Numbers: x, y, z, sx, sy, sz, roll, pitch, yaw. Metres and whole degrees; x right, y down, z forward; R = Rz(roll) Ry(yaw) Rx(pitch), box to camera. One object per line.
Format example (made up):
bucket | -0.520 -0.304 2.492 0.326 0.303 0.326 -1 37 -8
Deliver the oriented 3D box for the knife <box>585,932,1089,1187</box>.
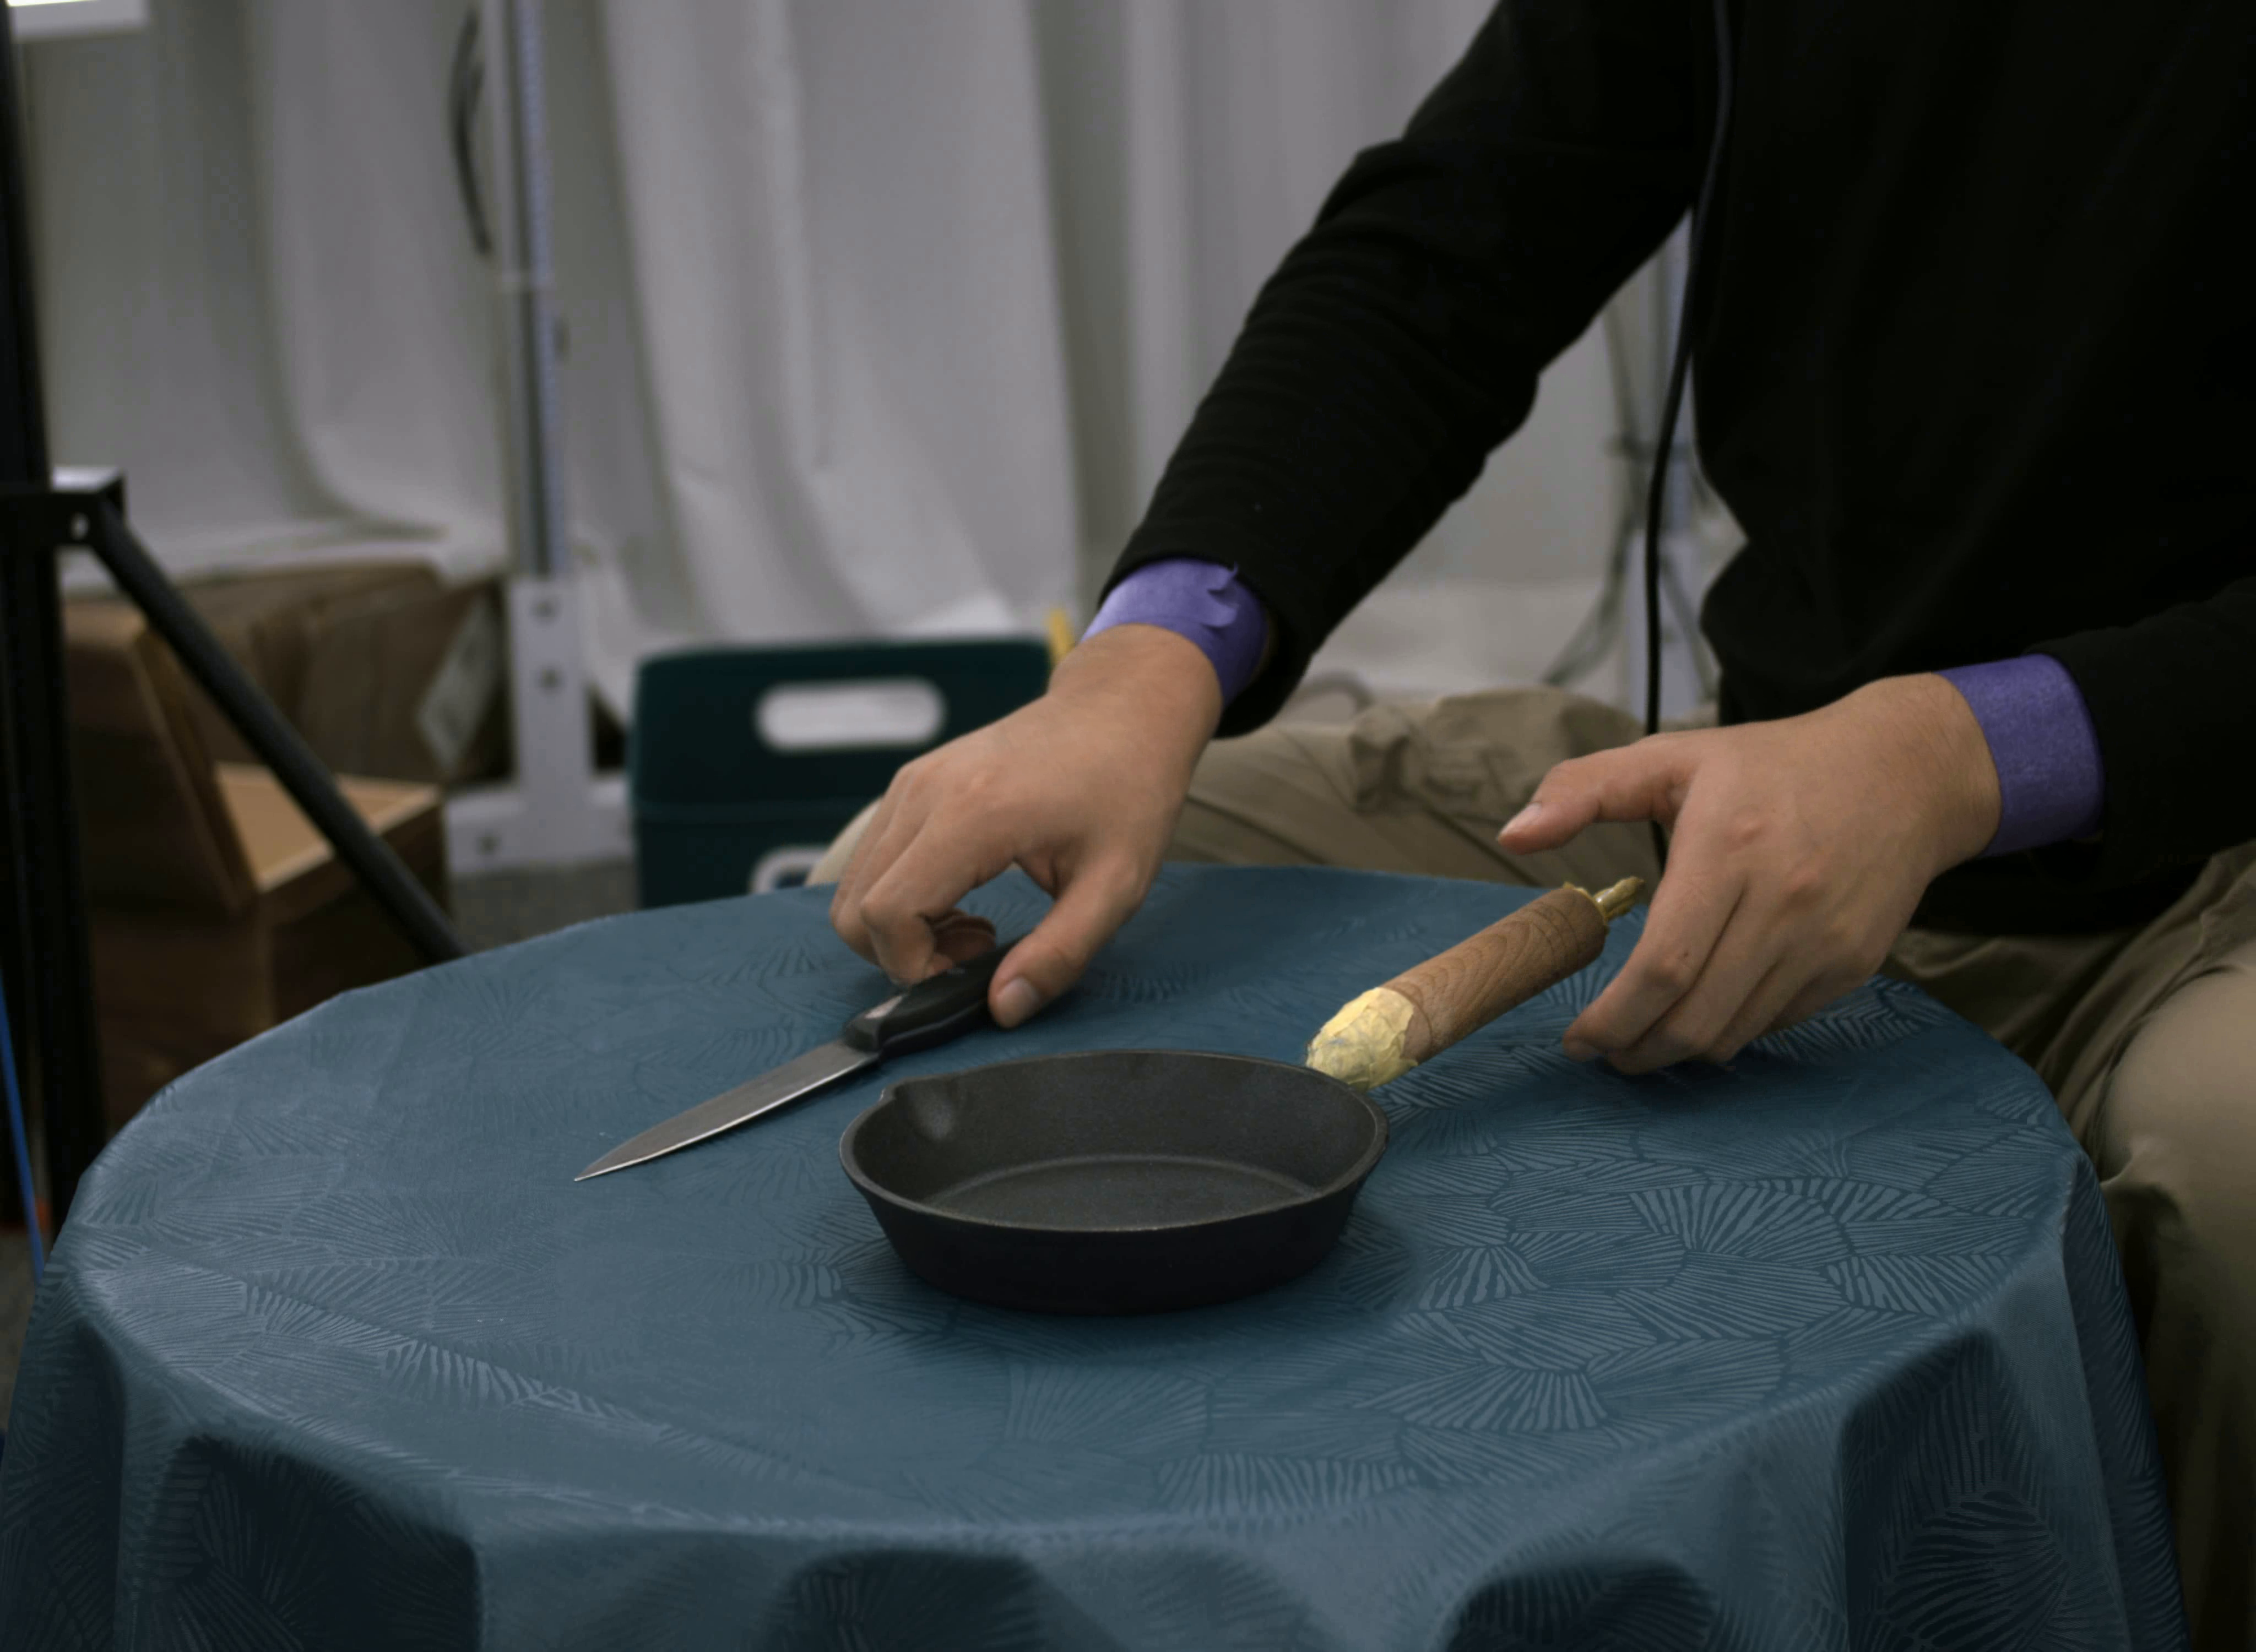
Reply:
knife | -0.091 0.073 1.673 0.025 0.016 0.233 11 24 37

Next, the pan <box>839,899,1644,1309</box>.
pan | 0.053 0.078 1.568 0.173 0.049 0.317 13 21 42
